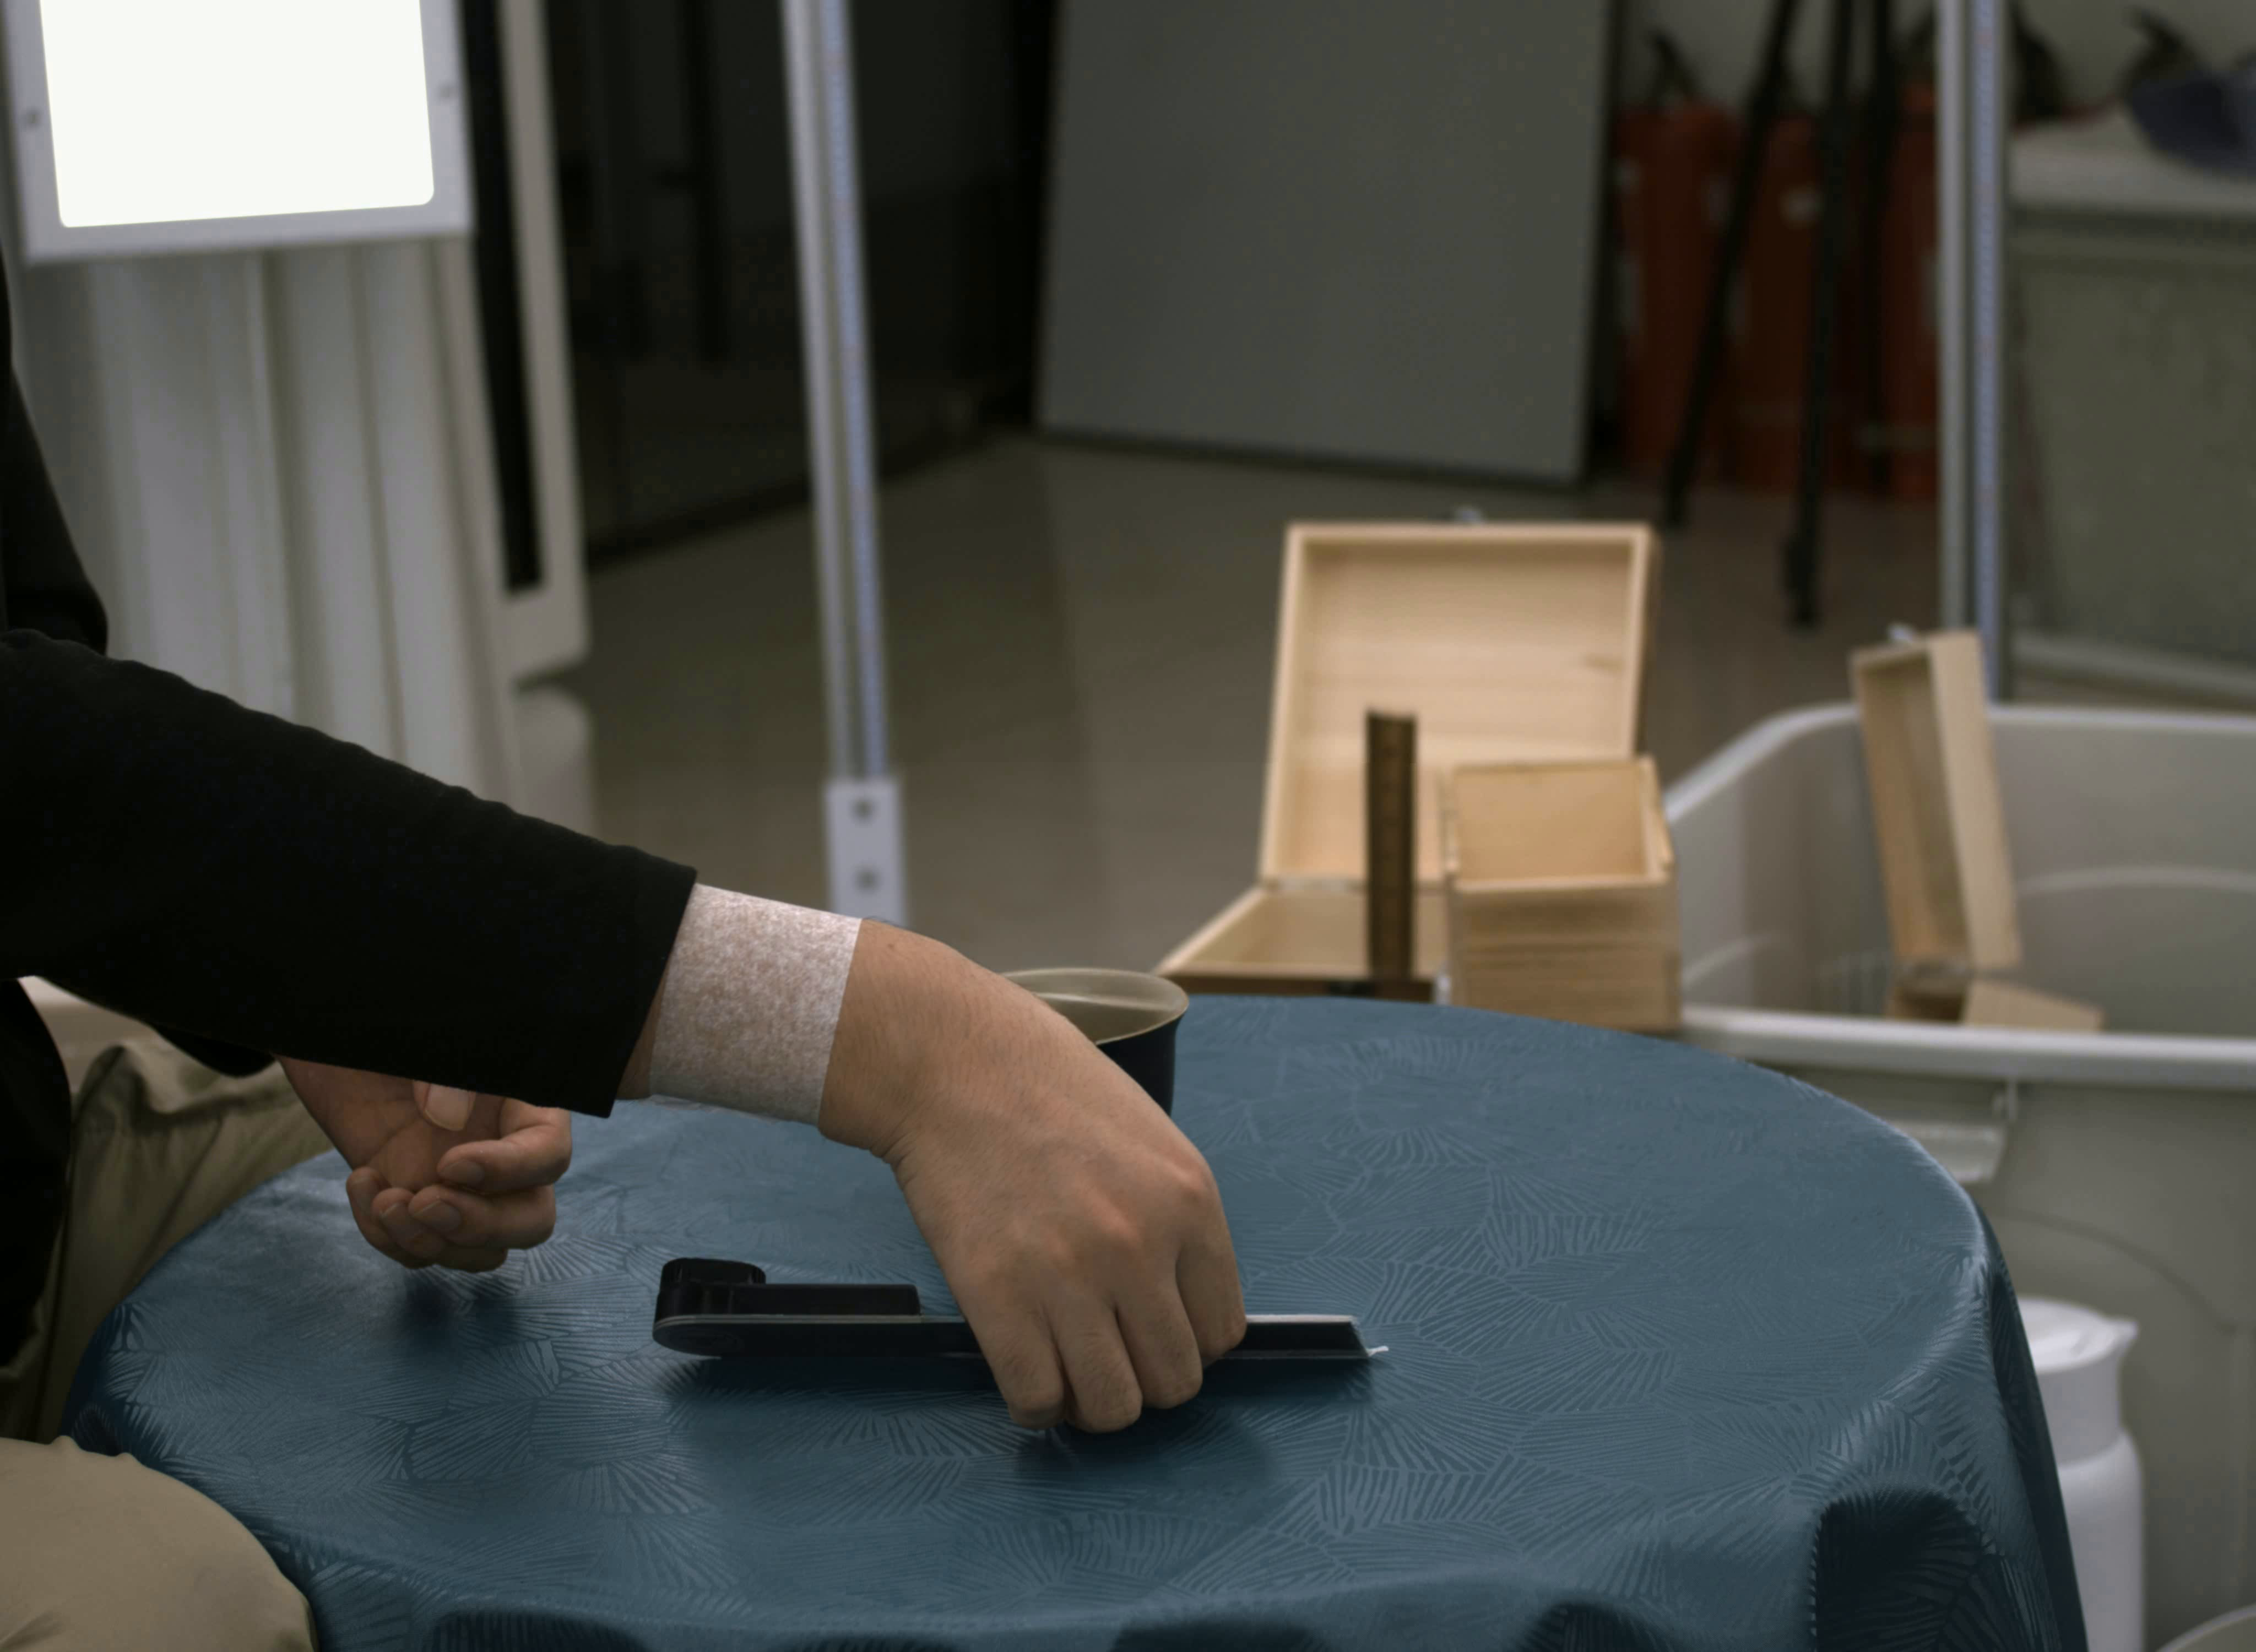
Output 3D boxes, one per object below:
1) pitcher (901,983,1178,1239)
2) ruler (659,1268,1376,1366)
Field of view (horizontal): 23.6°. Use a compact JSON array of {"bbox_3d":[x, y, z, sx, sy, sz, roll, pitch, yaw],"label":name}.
[{"bbox_3d":[-0.029,0.091,1.746,0.096,0.072,0.082,5,17,29],"label":"pitcher"},{"bbox_3d":[-0.034,0.143,1.606,0.217,0.024,0.038,-3,-16,12],"label":"ruler"}]
